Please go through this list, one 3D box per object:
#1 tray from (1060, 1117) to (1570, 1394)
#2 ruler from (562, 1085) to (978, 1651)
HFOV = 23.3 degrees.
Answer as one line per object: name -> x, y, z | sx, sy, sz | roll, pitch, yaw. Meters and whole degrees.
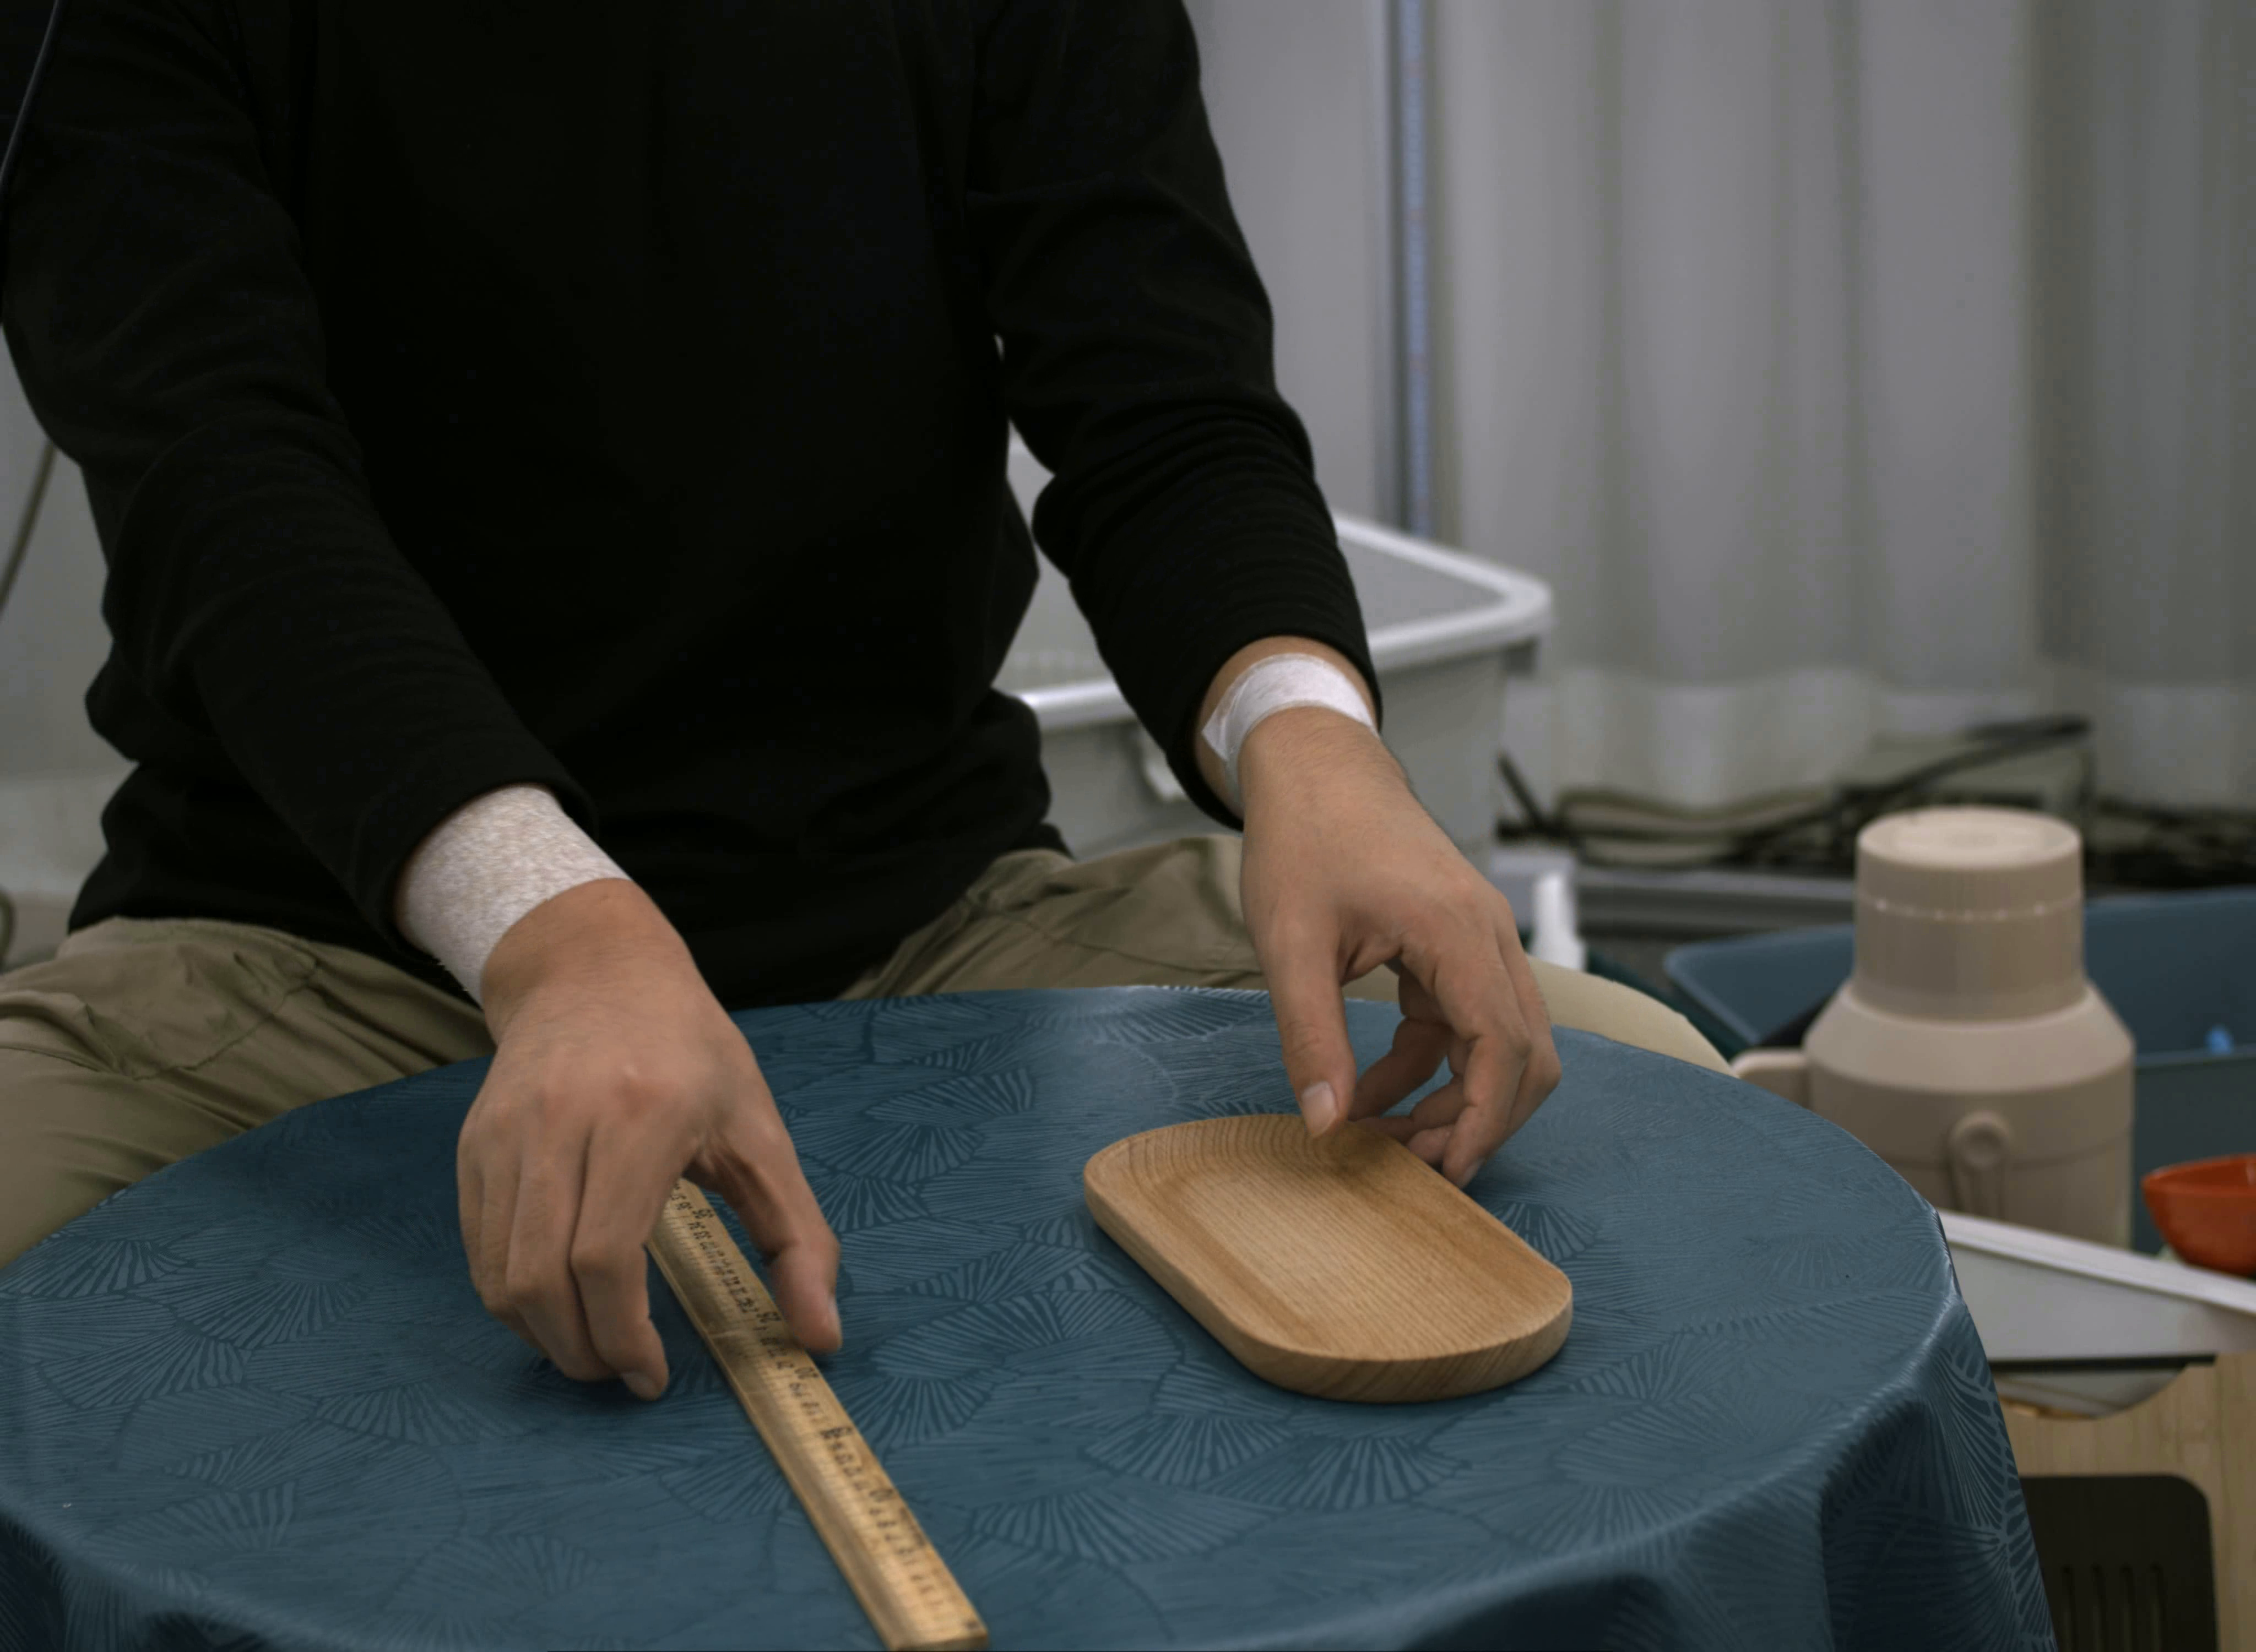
tray -> 0.053, 0.126, 1.629 | 0.101, 0.020, 0.233 | -7, 14, -20
ruler -> -0.113, 0.148, 1.602 | 0.026, 0.006, 0.504 | -4, 14, -14
